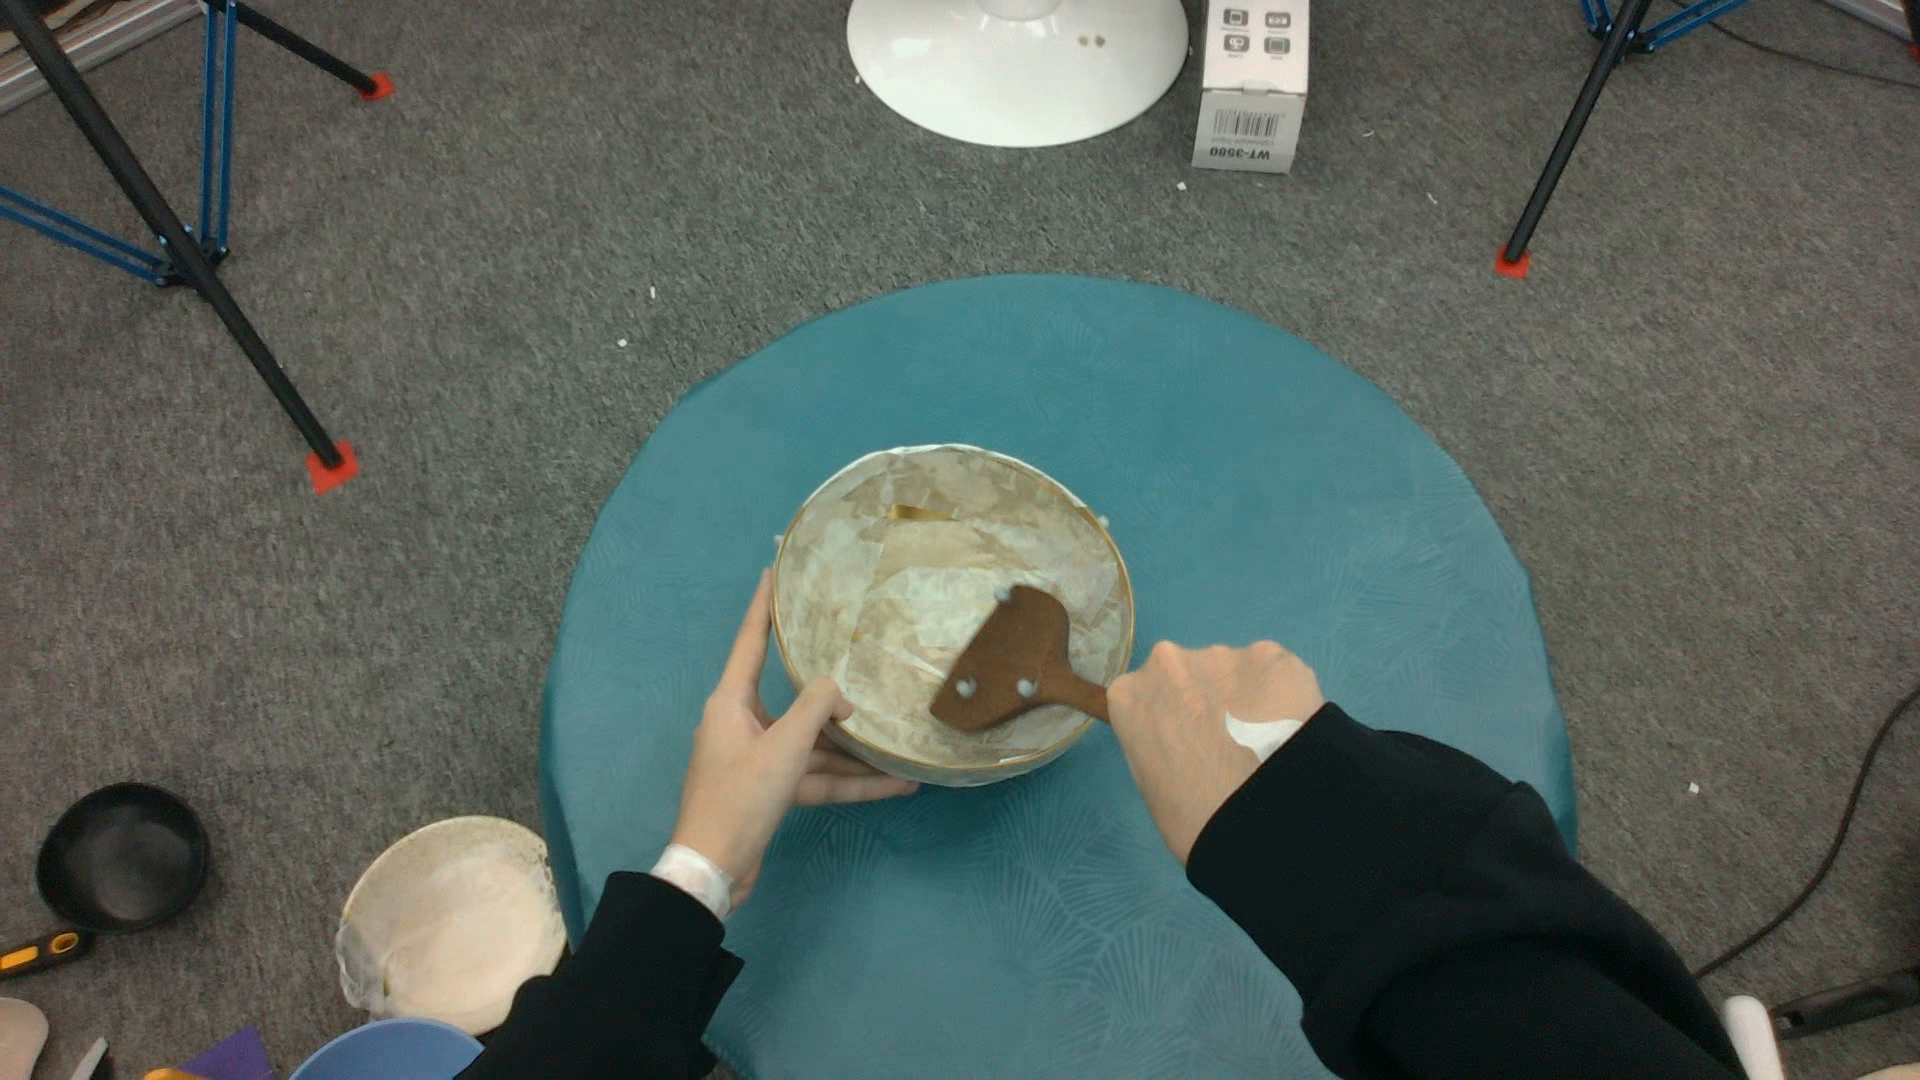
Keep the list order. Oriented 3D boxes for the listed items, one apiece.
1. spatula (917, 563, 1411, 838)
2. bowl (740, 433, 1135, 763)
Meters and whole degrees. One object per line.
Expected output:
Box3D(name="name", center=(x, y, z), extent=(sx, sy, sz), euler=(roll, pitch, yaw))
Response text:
Box3D(name="spatula", center=(0.070, 0.070, 0.622), extent=(0.016, 0.385, 0.096), euler=(37, 81, -20))
Box3D(name="bowl", center=(-0.016, 0.047, 0.766), extent=(0.215, 0.094, 0.215), euler=(7, 50, -8))
